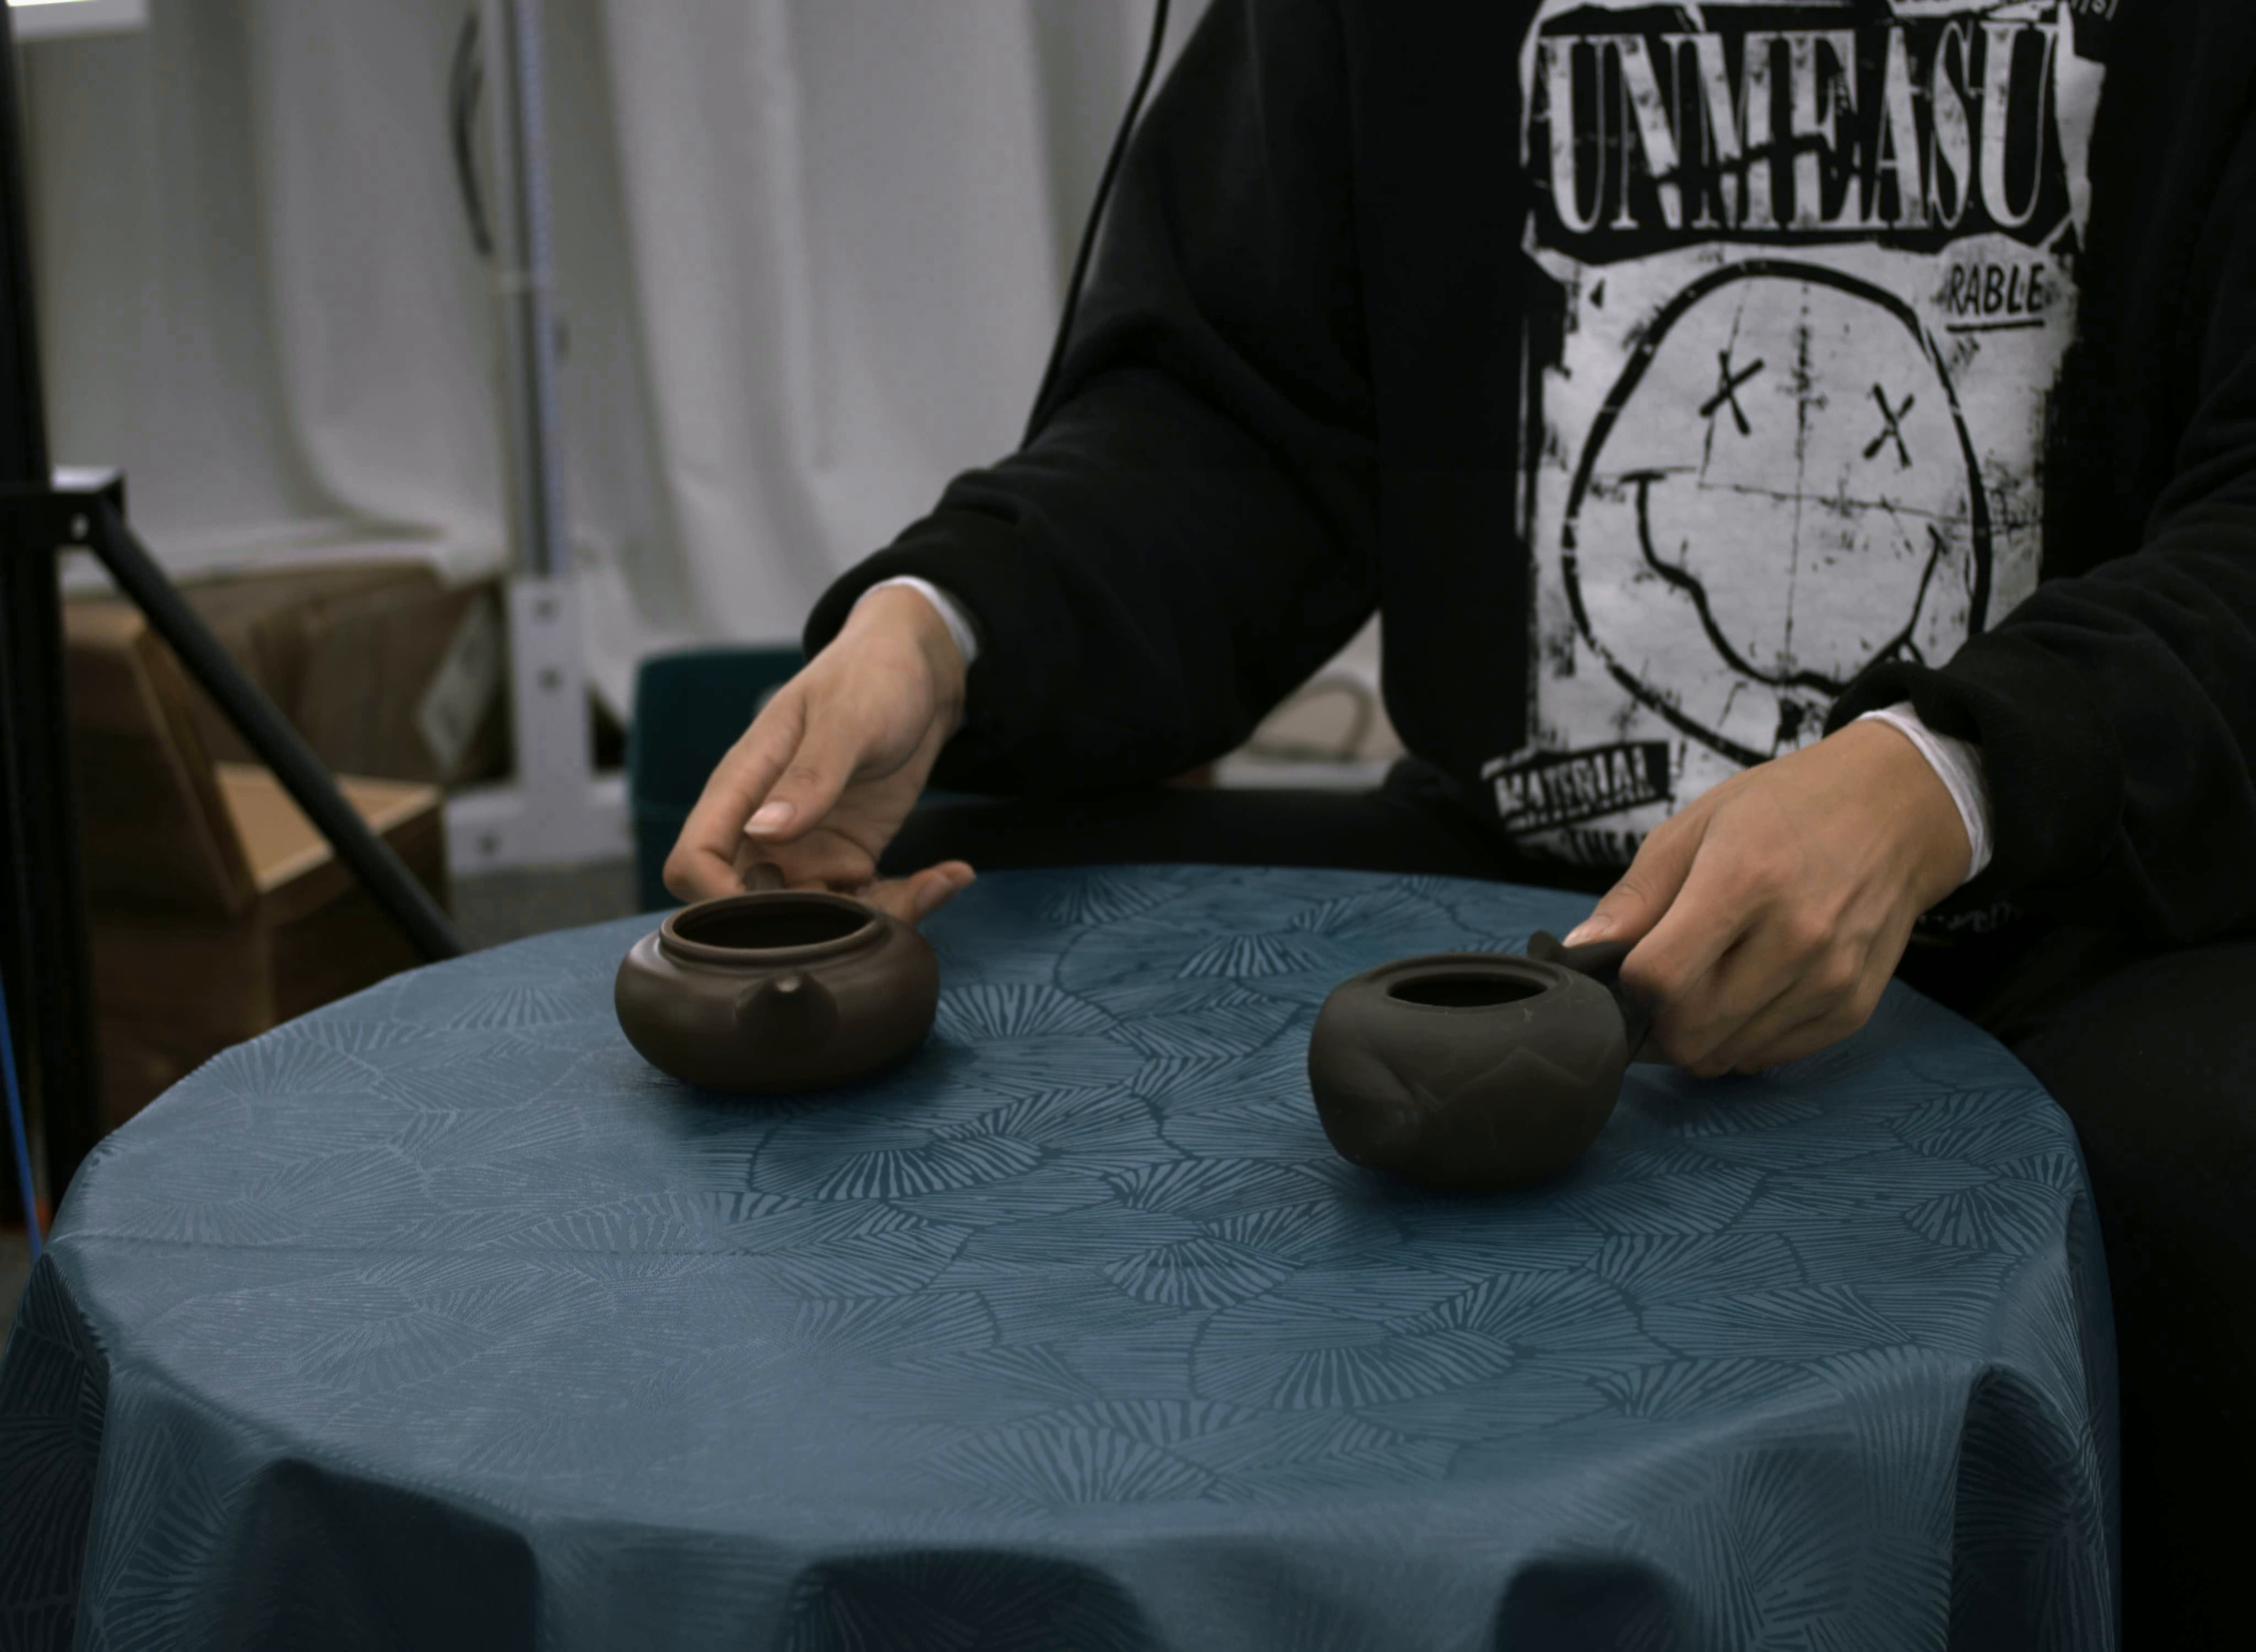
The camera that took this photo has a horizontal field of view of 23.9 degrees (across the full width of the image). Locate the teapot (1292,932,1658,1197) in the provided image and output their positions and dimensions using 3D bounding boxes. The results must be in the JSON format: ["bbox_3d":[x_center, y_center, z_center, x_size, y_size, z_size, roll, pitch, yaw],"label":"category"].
[{"bbox_3d":[0.103,0.070,1.555,0.151,0.064,0.094,-17,23,-40],"label":"teapot"}]

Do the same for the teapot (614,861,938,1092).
[{"bbox_3d":[-0.112,0.049,1.683,0.101,0.054,0.155,-3,16,-12],"label":"teapot"}]
